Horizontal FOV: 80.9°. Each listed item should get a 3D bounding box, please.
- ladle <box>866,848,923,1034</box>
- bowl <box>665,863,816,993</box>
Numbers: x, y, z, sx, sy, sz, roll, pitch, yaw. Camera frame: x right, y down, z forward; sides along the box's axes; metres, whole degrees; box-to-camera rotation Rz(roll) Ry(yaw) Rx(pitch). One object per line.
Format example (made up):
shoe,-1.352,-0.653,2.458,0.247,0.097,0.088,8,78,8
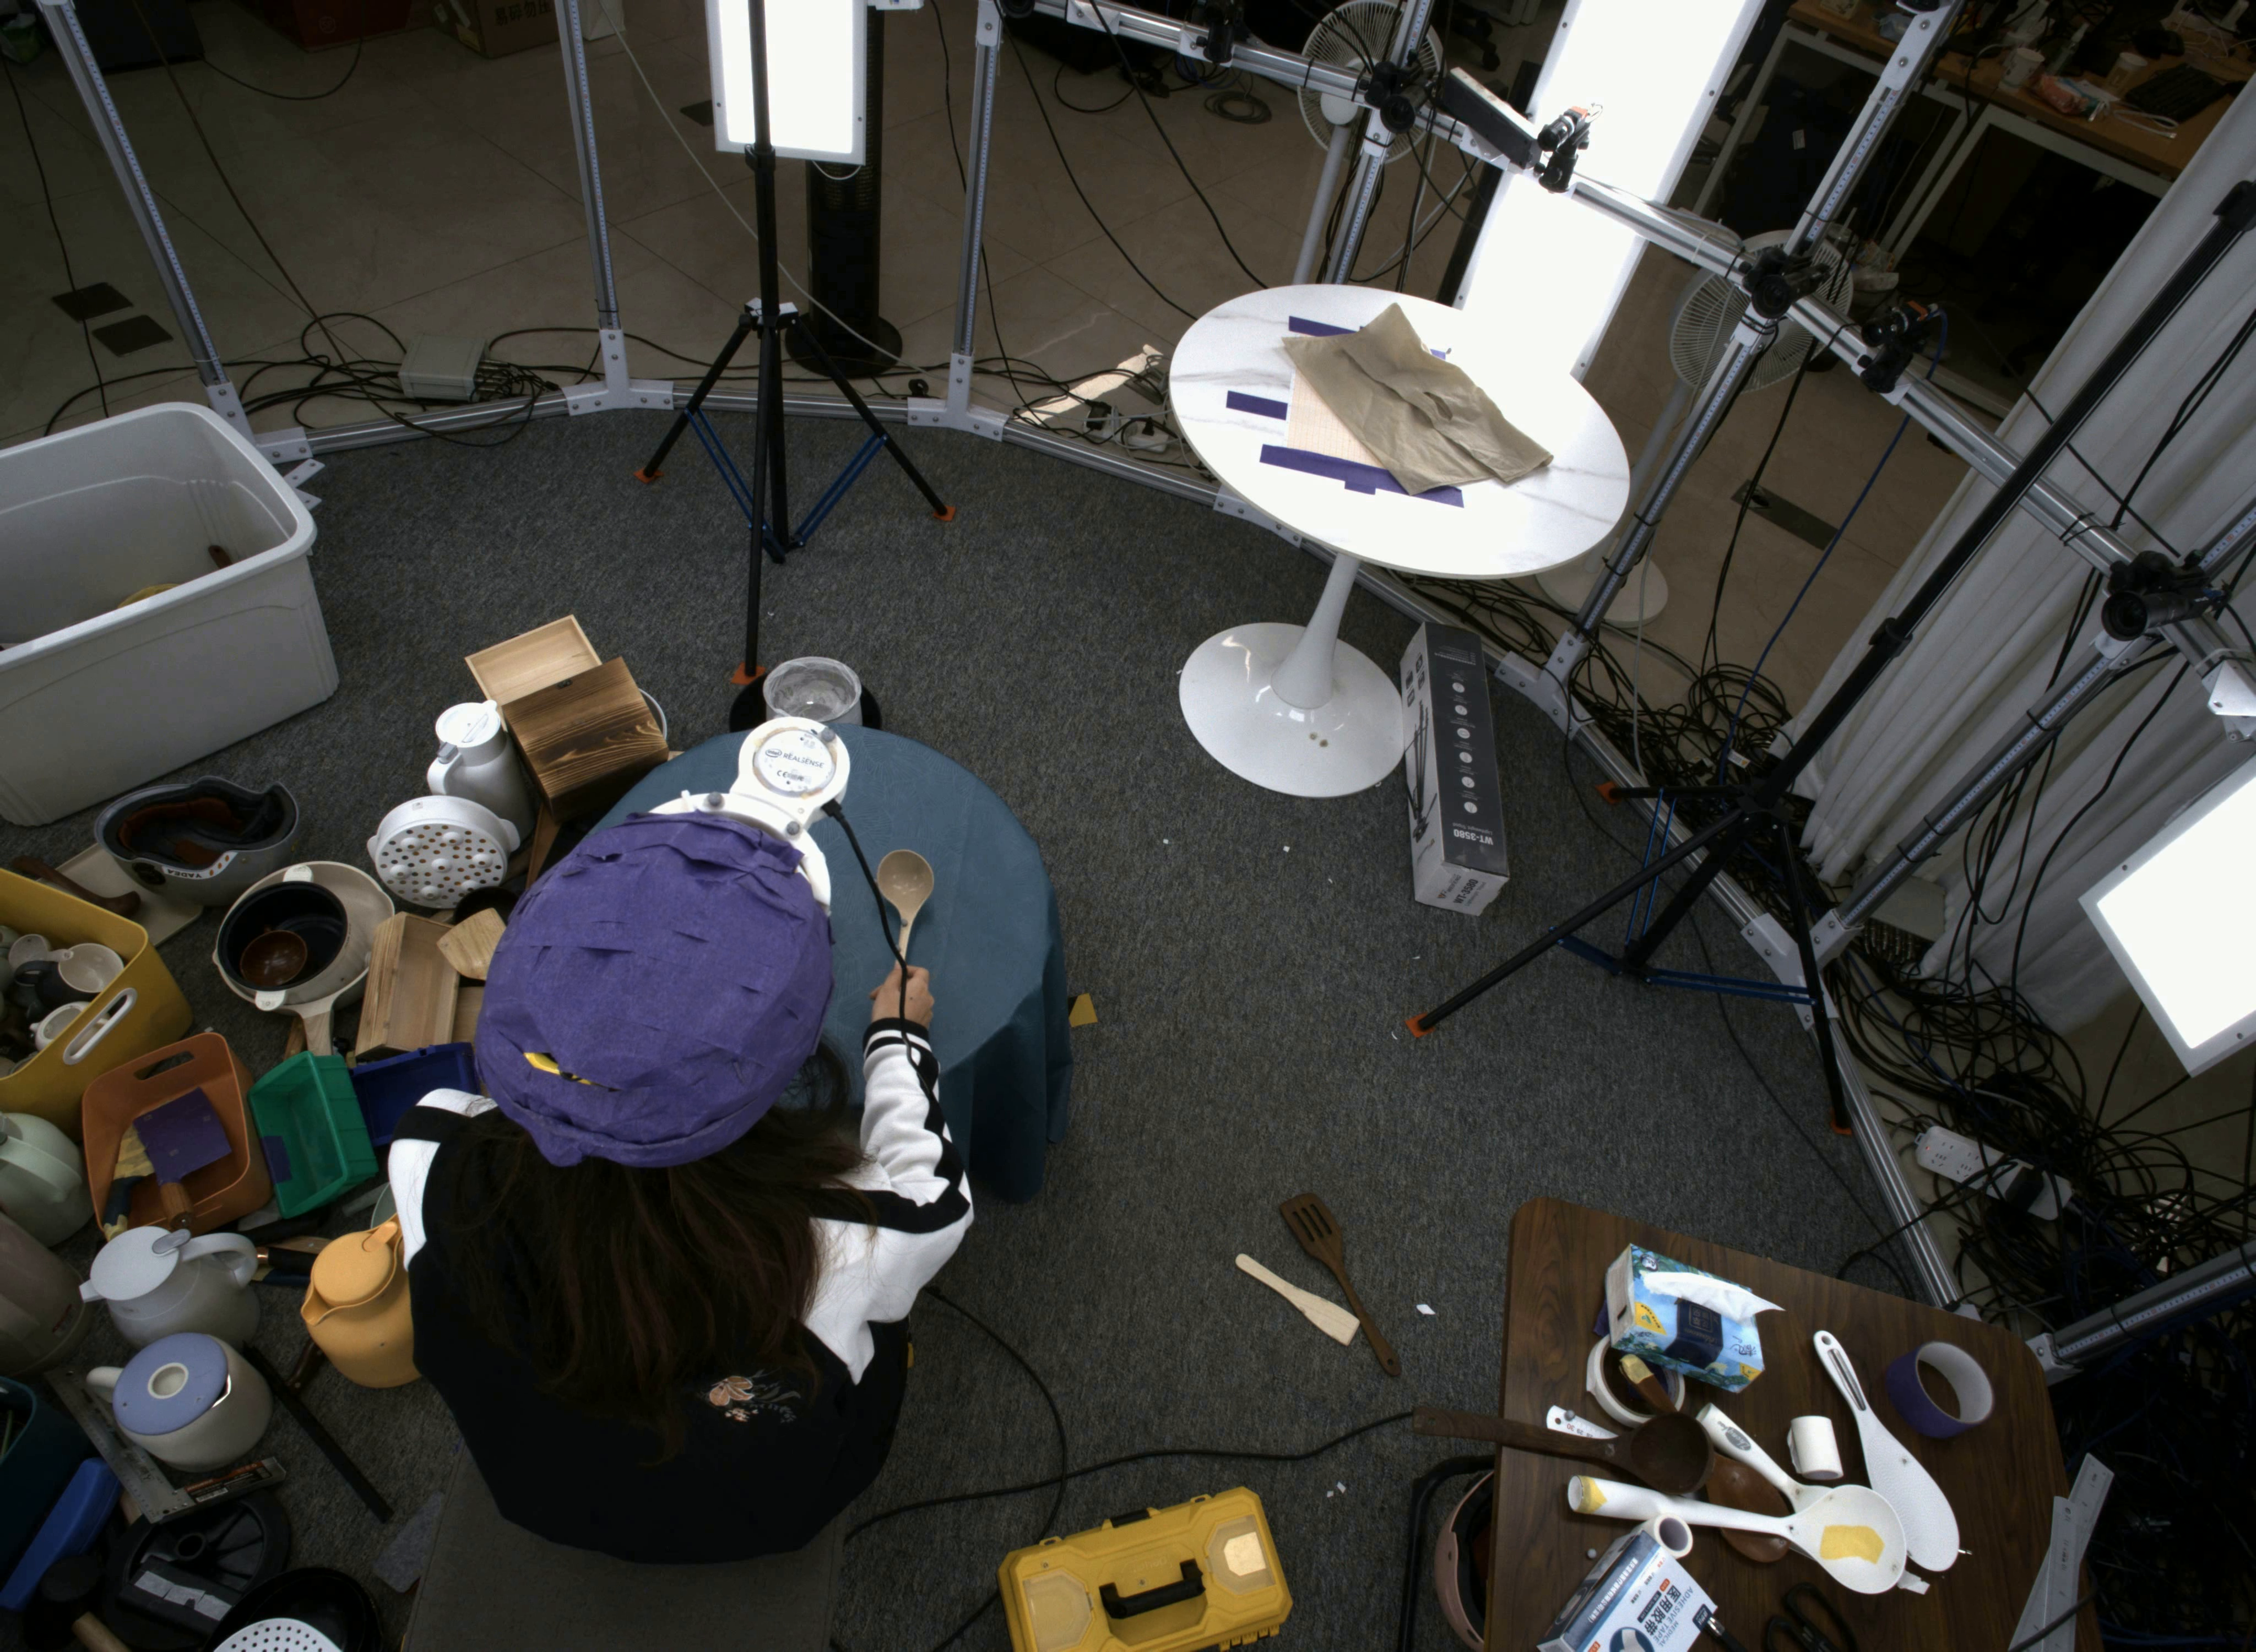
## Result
ladle,-0.287,0.128,1.570,0.071,0.075,0.248,-8,42,0
bowl,-0.465,0.132,1.564,0.175,0.072,0.173,7,52,-8
